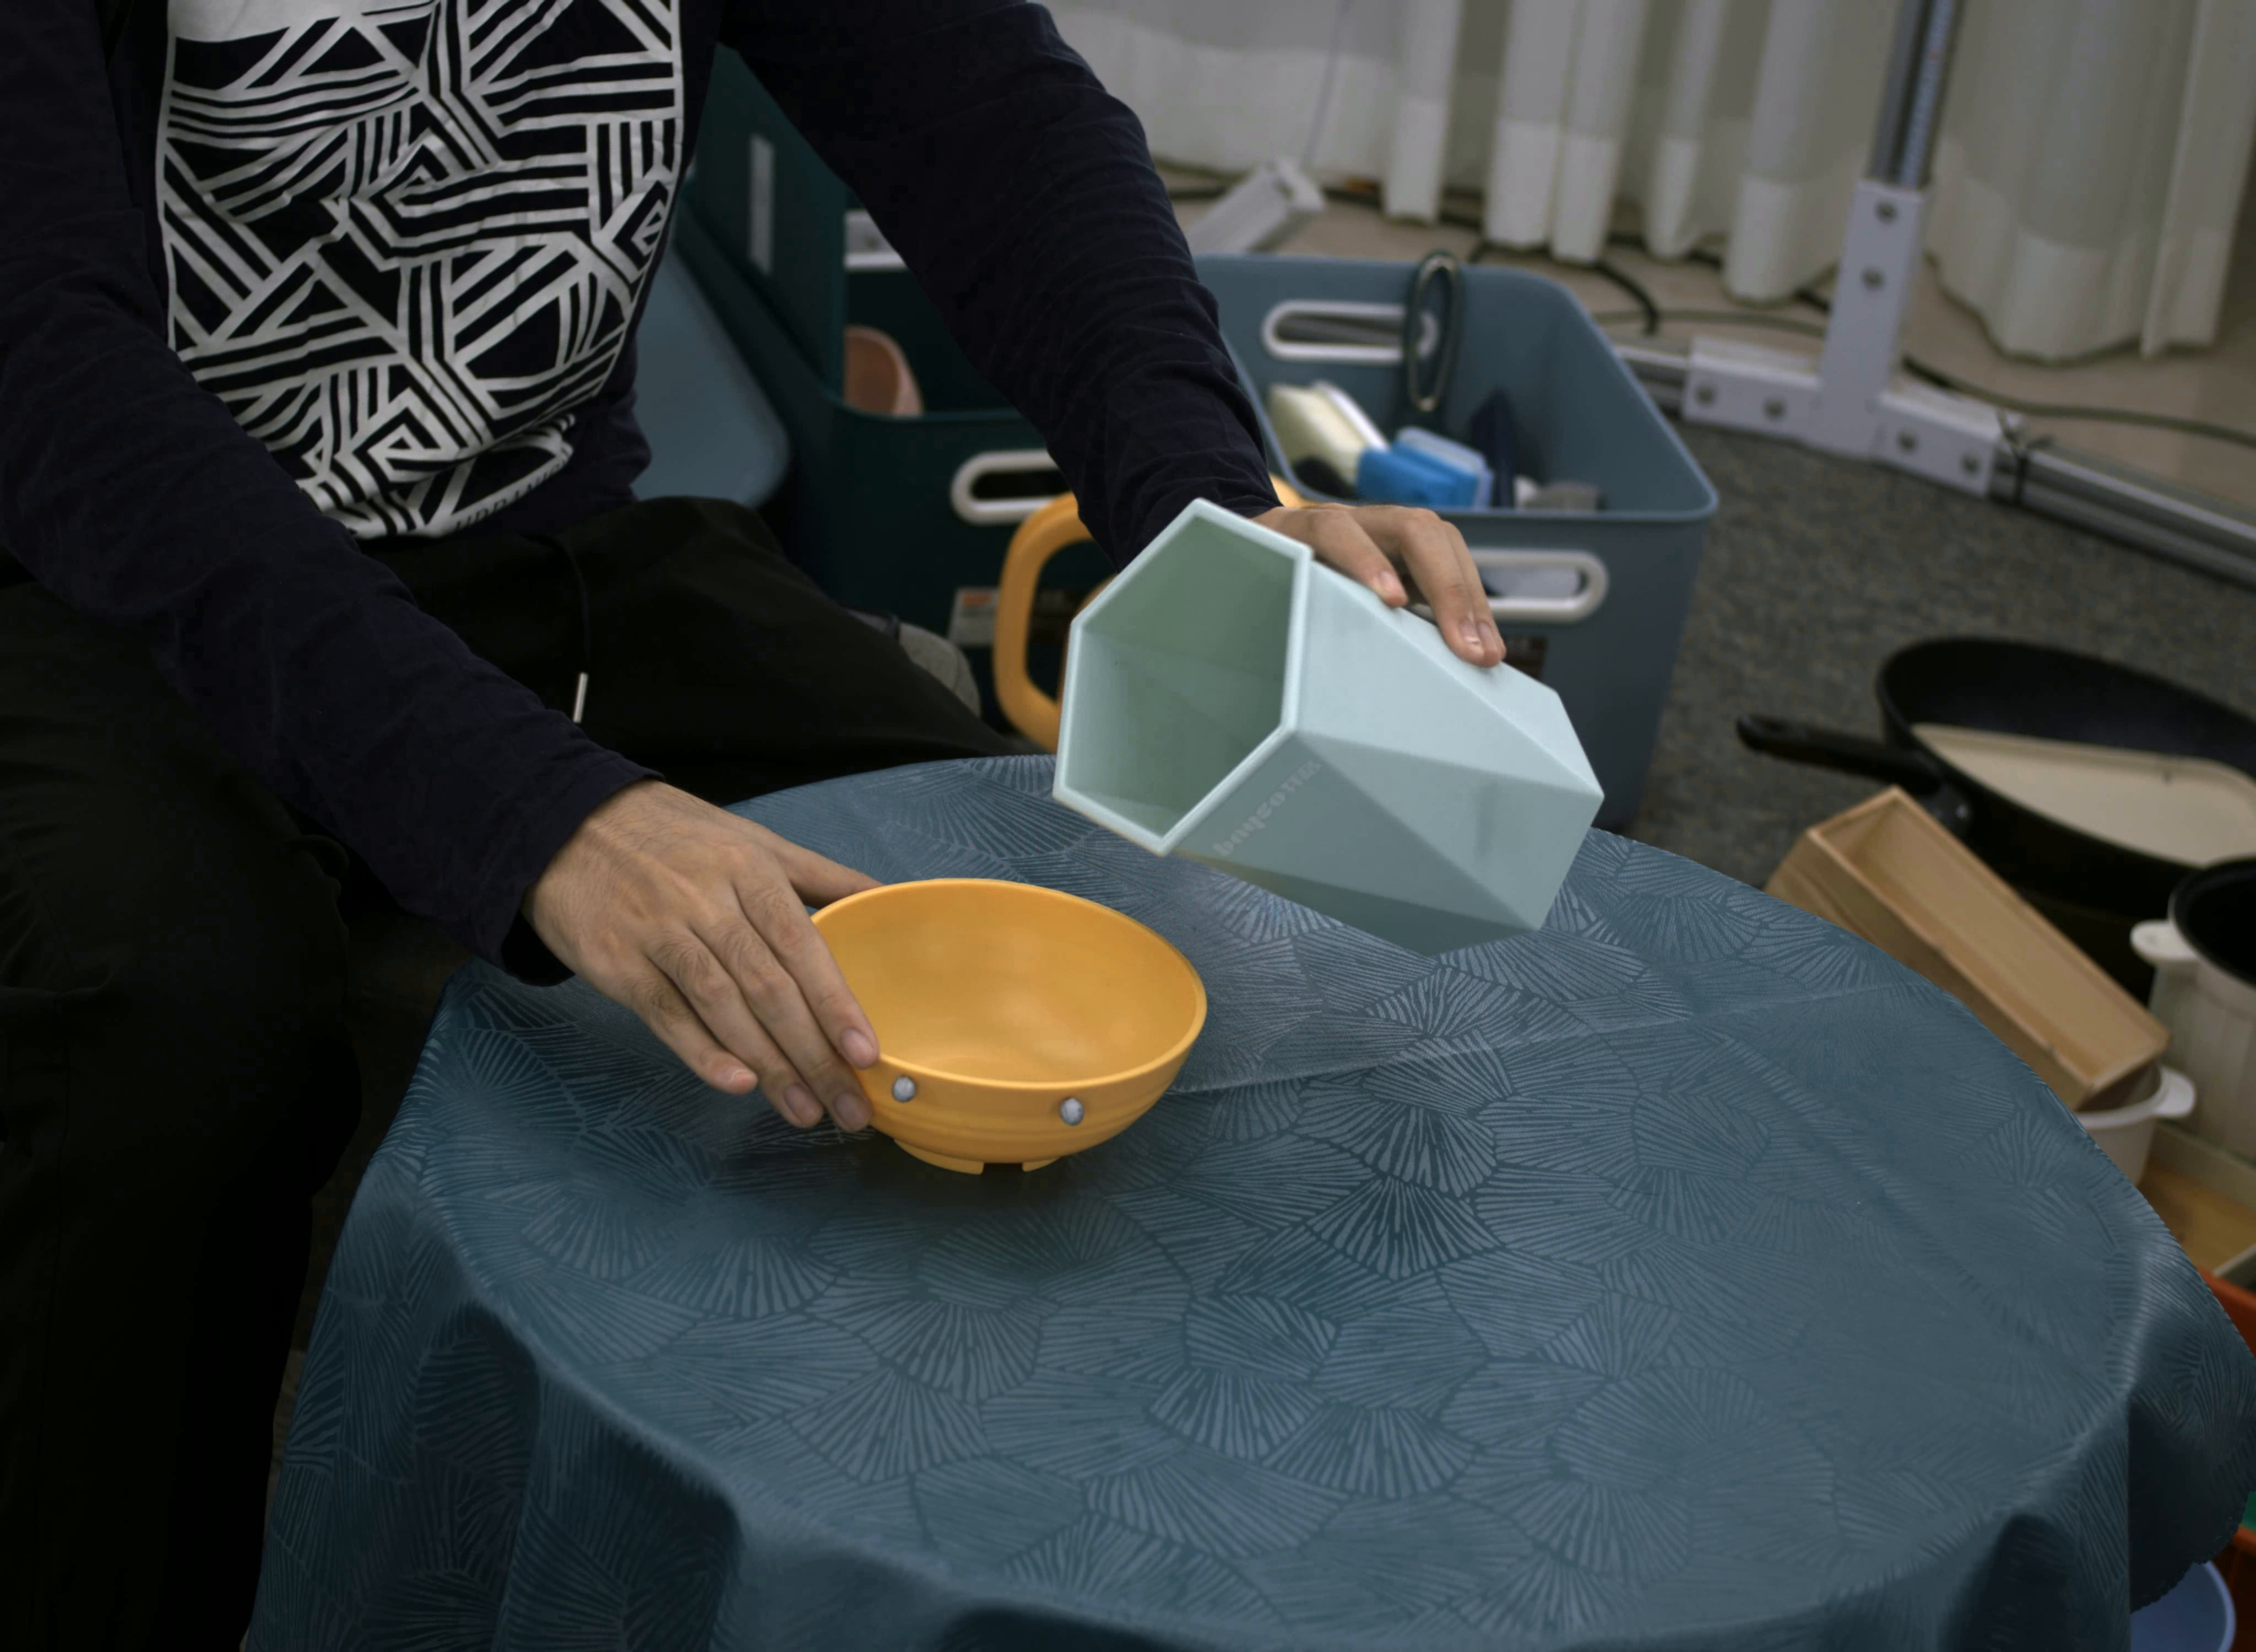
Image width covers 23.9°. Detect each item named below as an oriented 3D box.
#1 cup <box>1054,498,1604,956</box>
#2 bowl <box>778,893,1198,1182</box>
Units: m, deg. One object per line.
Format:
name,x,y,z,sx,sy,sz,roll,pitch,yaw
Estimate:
cup,0.074,-0.027,1.846,0.161,0.131,0.116,24,31,-37
bowl,-0.050,0.080,1.823,0.145,0.060,0.146,5,24,-3
